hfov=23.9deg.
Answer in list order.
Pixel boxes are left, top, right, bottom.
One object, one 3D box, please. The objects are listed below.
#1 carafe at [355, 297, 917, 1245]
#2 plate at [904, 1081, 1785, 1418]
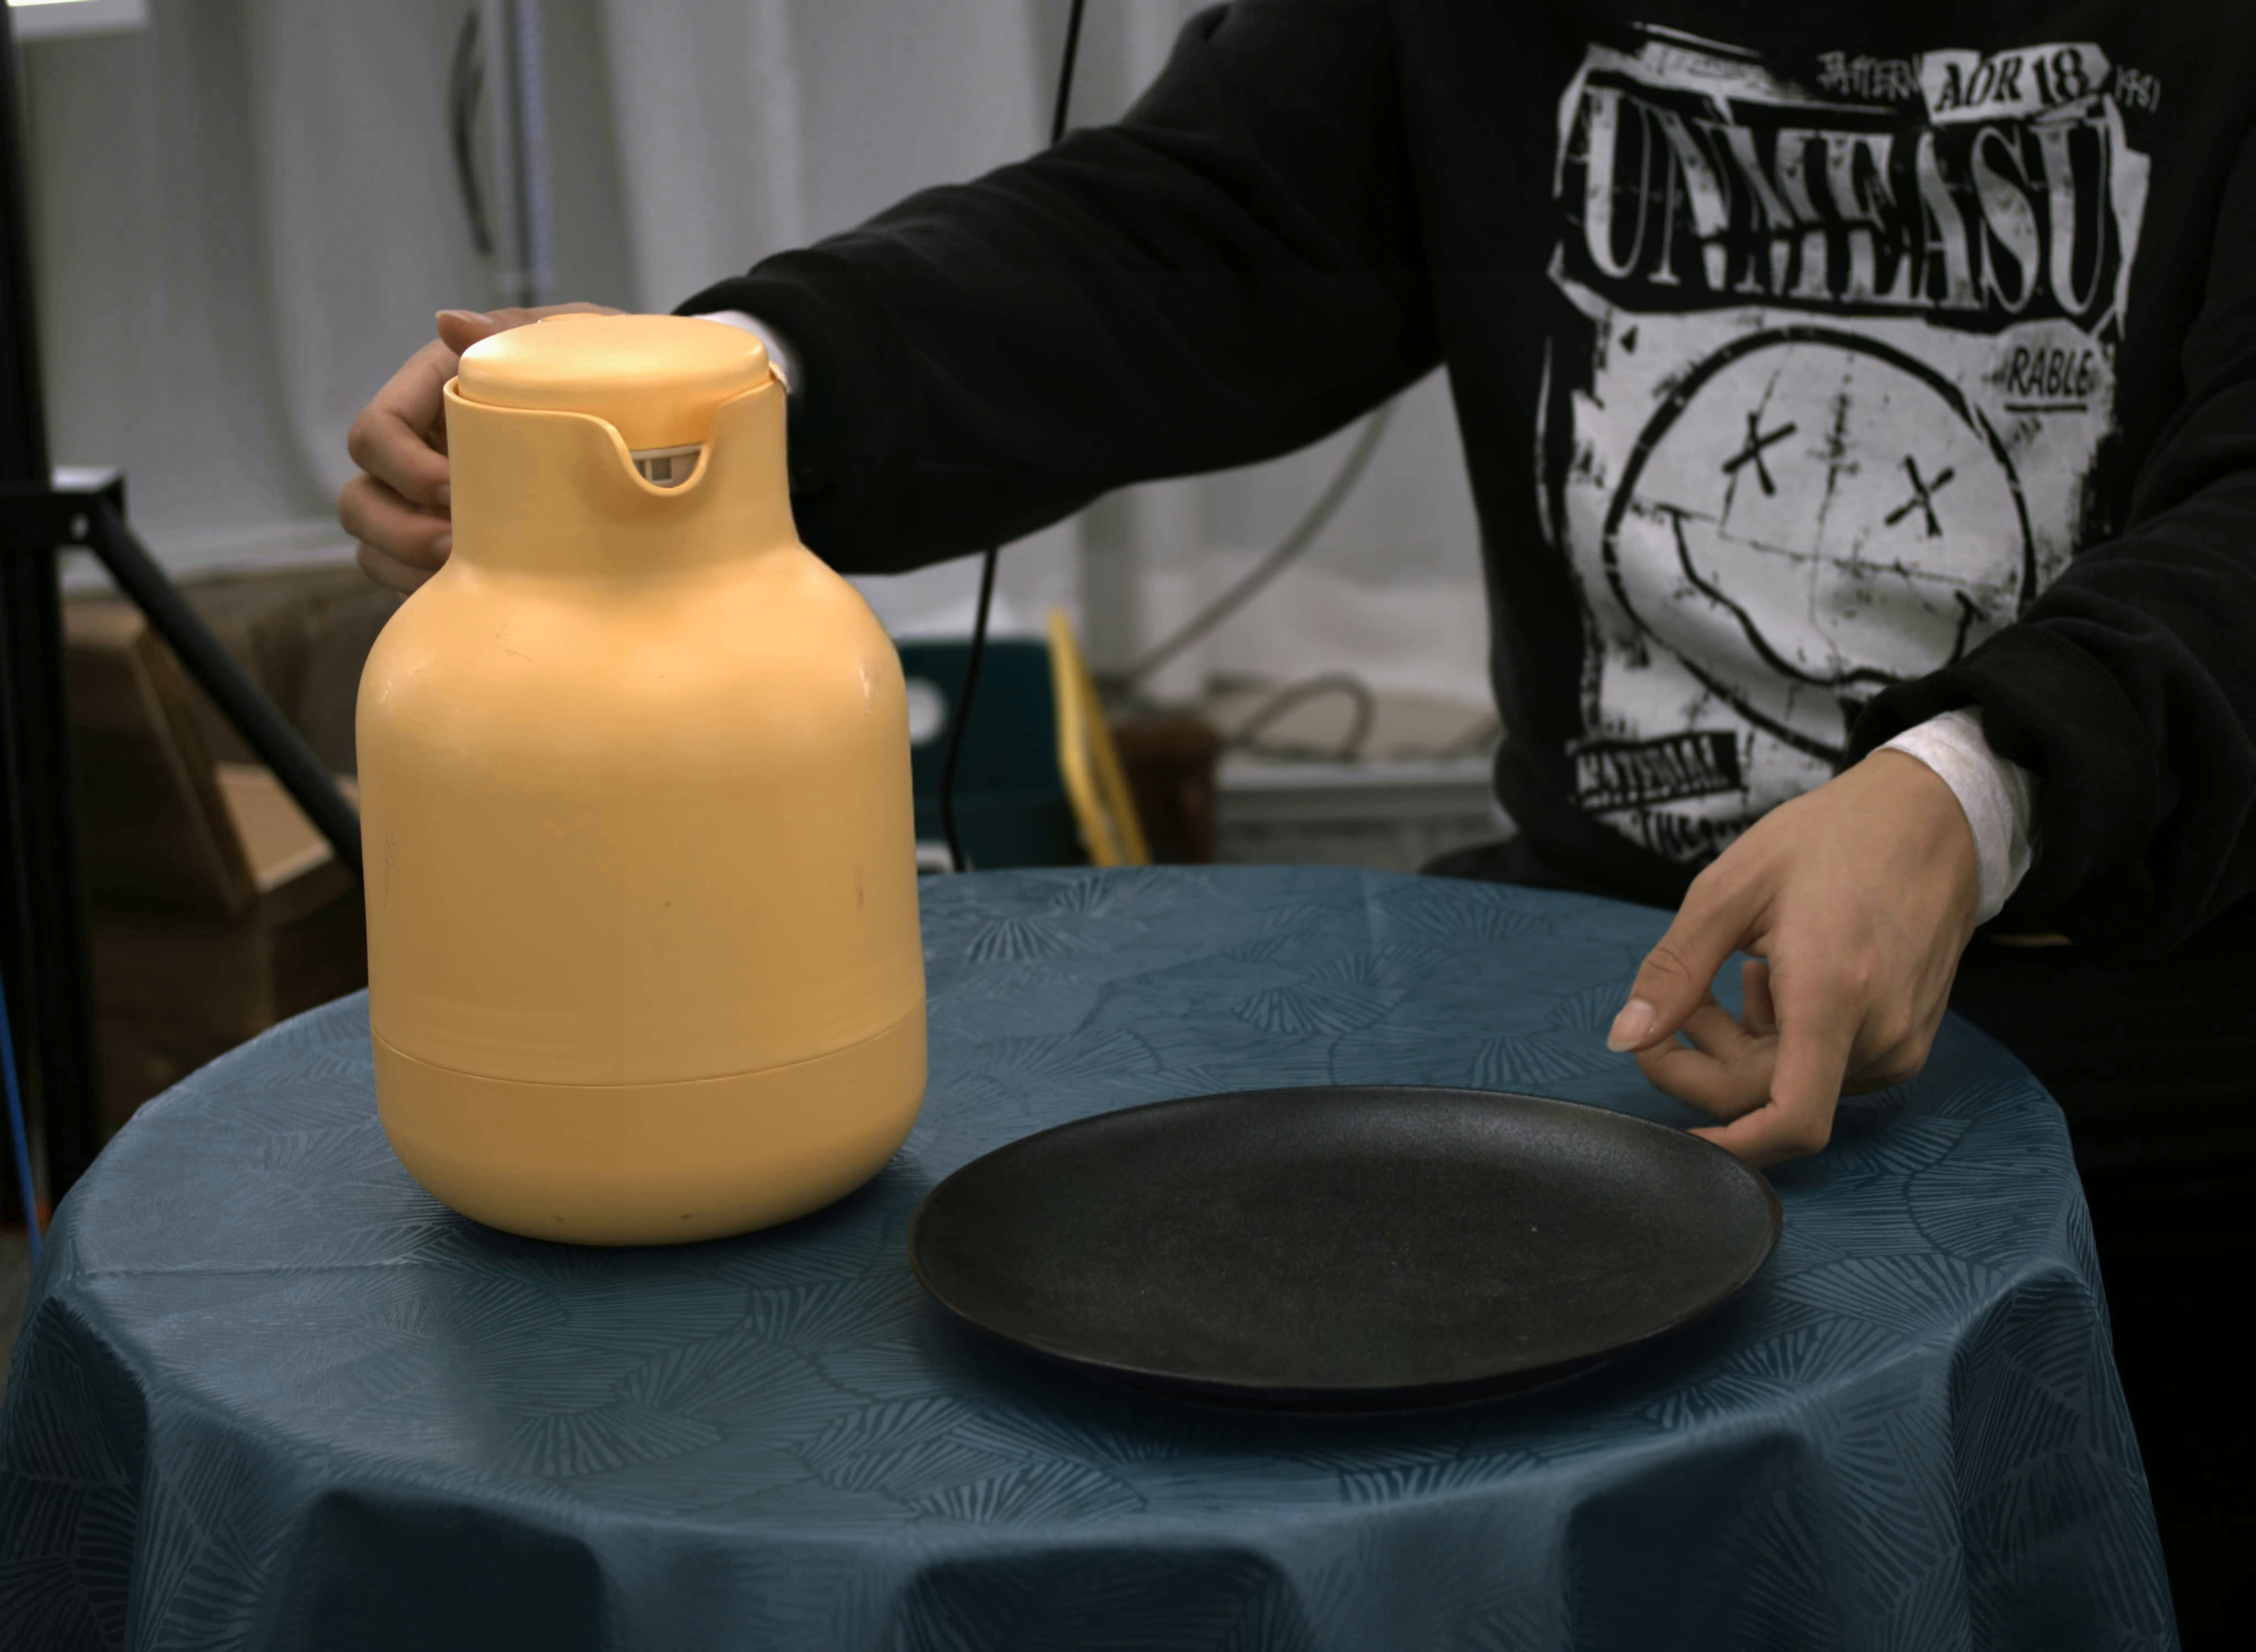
[{"bbox_3d":[-0.147,-0.024,1.568,0.161,0.260,0.205,-3,17,-13],"label":"carafe"},{"bbox_3d":[0.060,0.119,1.462,0.243,0.023,0.245,-3,16,-1],"label":"plate"}]
